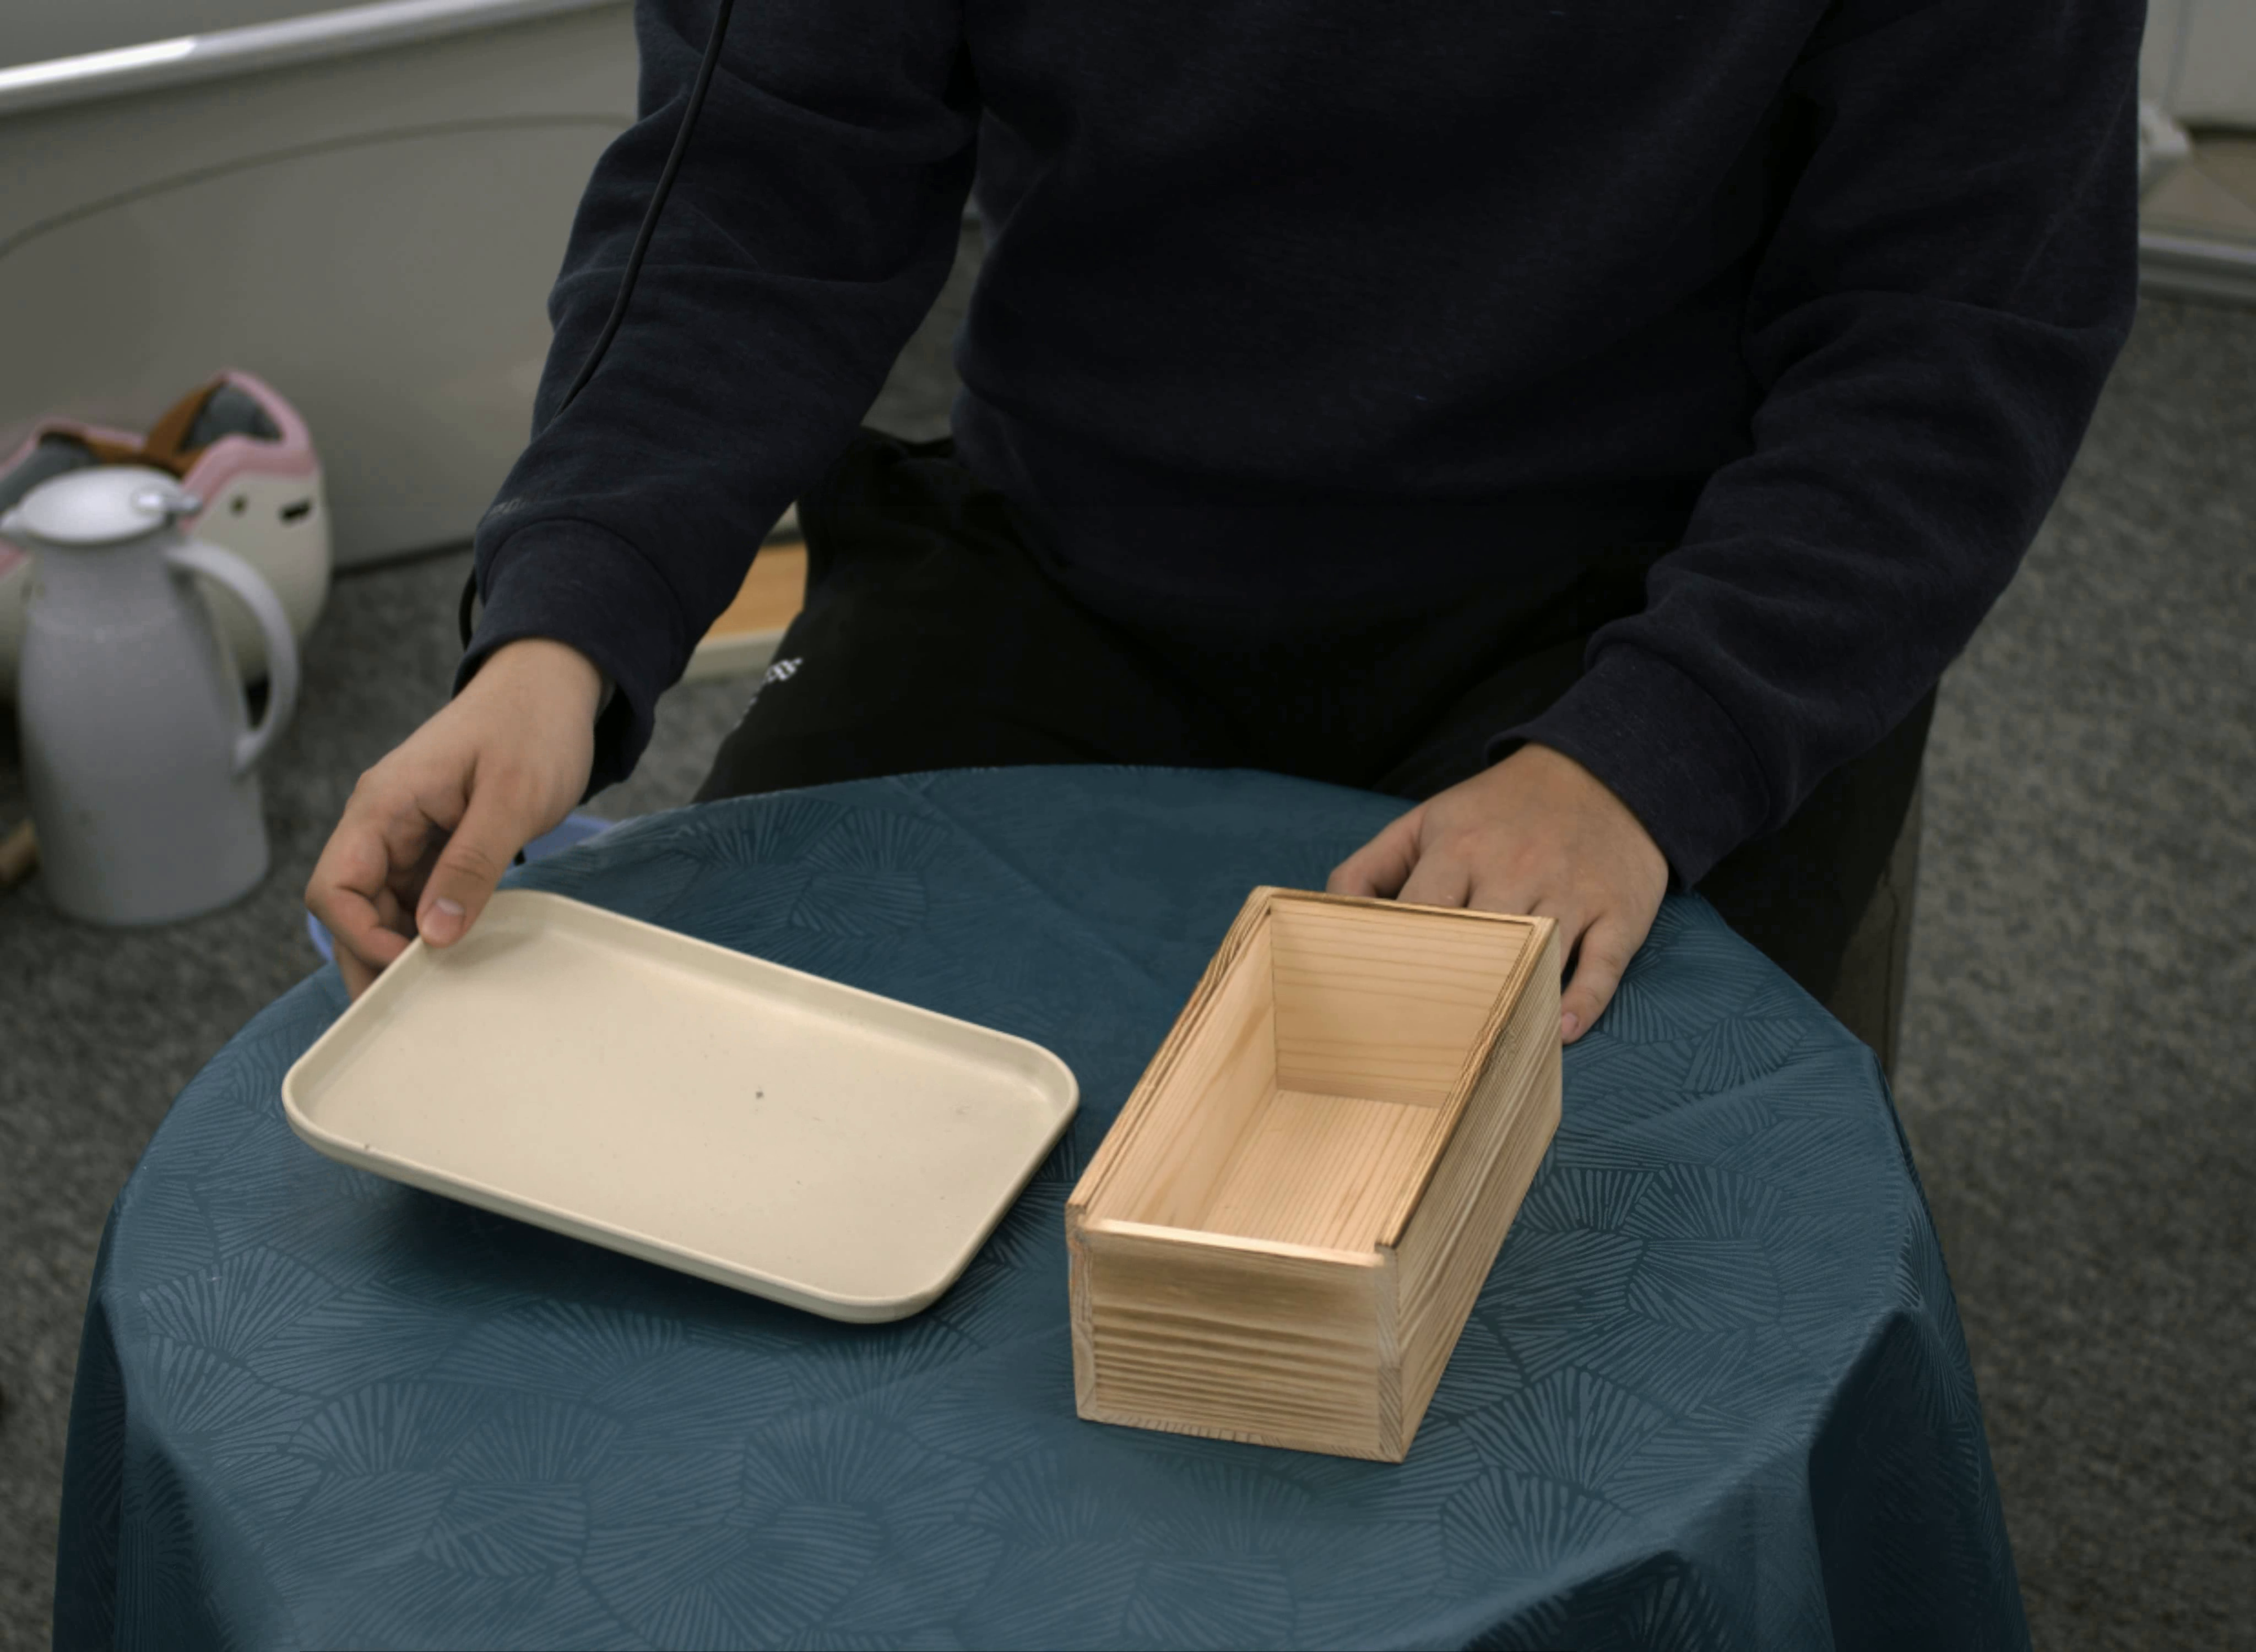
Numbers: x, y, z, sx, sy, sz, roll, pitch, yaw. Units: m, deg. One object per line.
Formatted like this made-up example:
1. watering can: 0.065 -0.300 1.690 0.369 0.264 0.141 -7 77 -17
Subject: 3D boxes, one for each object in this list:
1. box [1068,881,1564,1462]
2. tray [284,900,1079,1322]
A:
1. box: 0.064 0.107 1.802 0.107 0.079 0.215 6 28 16
2. tray: -0.148 0.095 1.877 0.238 0.017 0.174 15 31 15
